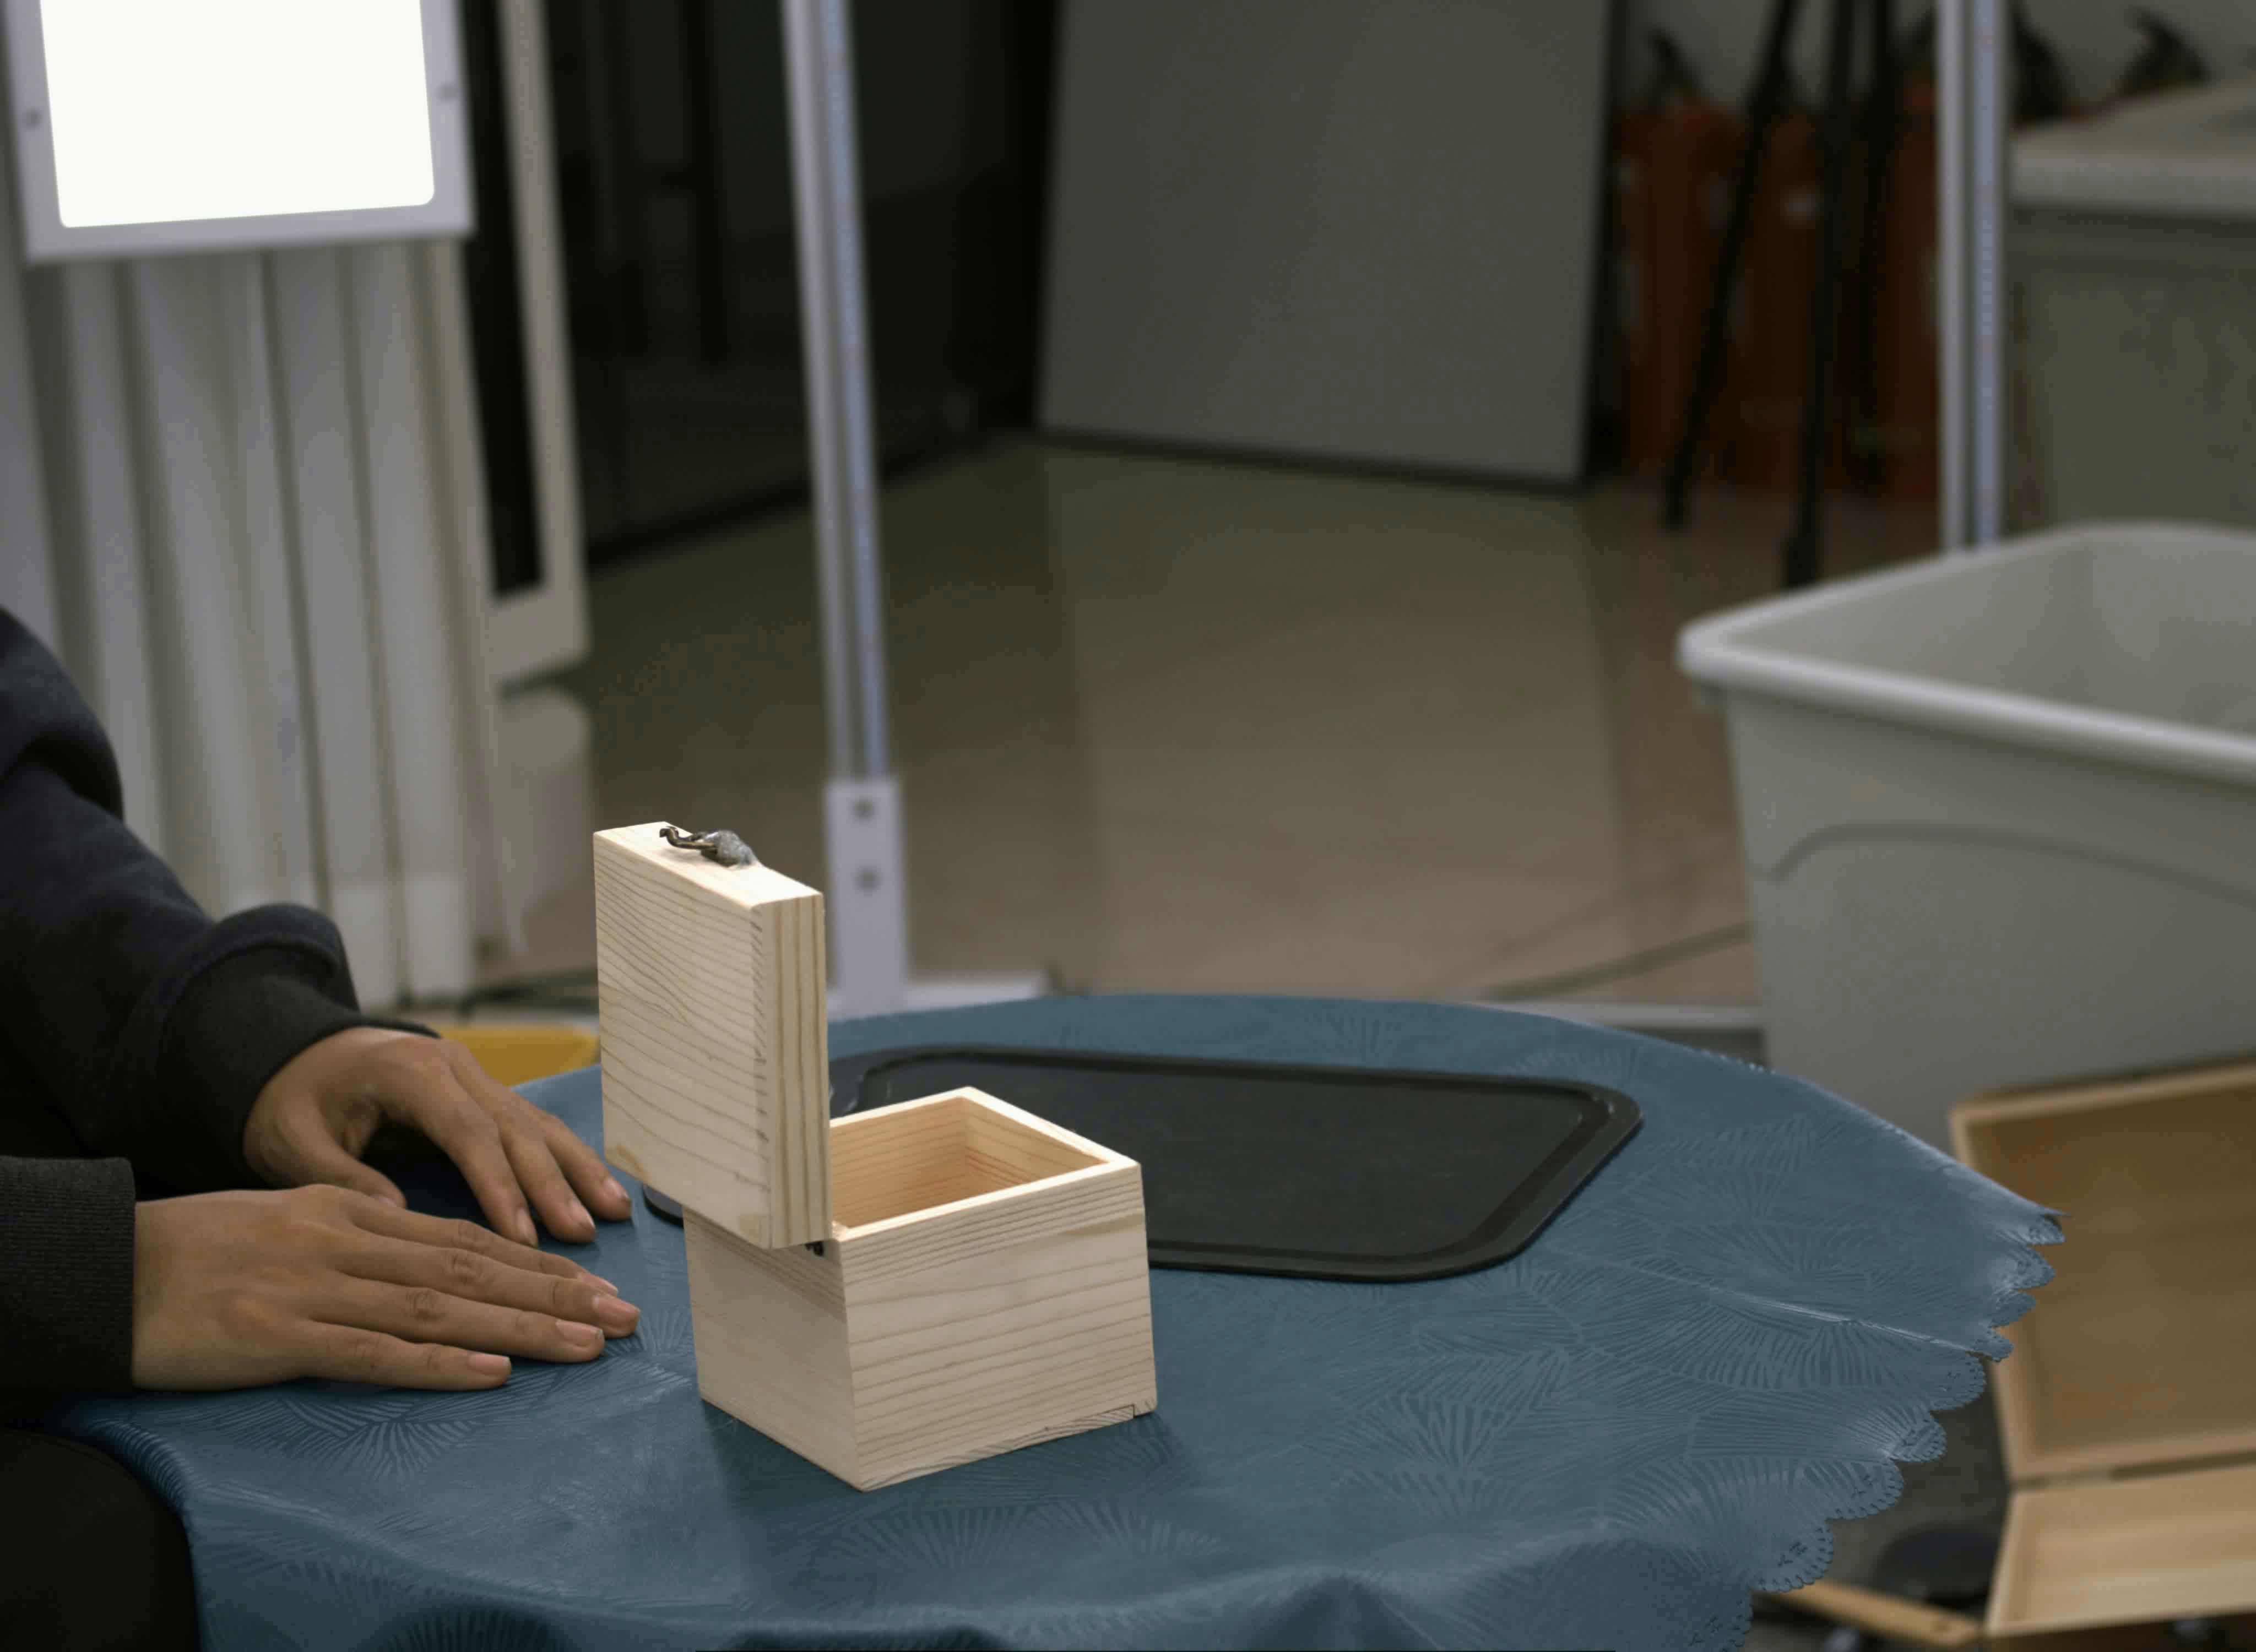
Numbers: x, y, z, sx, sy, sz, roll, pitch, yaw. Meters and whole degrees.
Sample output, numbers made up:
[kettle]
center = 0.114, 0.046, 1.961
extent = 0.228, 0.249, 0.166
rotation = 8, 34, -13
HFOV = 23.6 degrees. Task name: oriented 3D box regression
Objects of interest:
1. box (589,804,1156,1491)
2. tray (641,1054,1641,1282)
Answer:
[box]
center = -0.072, 0.082, 1.556
extent = 0.131, 0.186, 0.104
rotation = -12, 16, -29
[tray]
center = -0.002, 0.110, 1.802
extent = 0.325, 0.010, 0.208
rotation = 2, 15, 24
